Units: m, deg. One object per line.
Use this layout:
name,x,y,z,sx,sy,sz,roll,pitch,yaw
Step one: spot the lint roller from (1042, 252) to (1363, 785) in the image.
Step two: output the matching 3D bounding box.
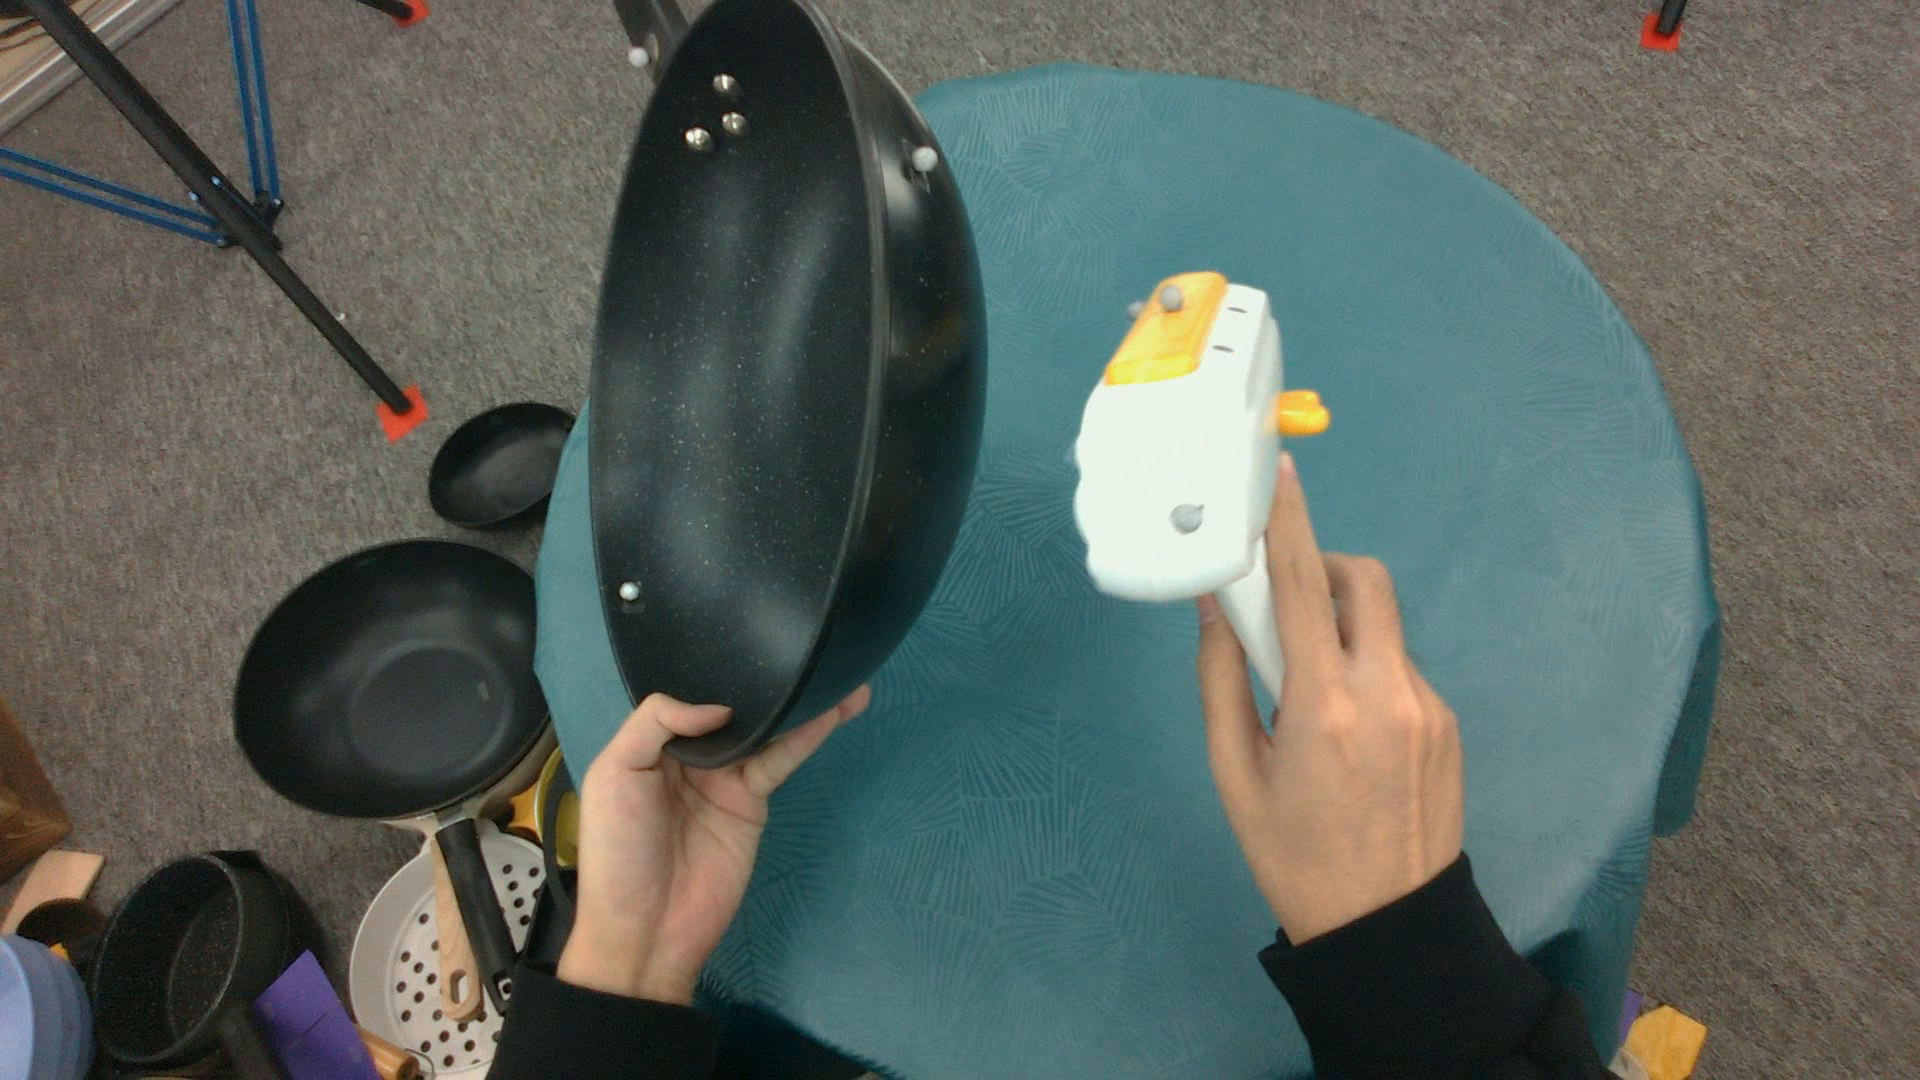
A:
lint roller,0.091,0.008,0.479,0.074,0.192,0.193,-14,23,15

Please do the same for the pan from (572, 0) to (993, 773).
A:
pan,-0.099,-0.137,0.603,0.112,0.308,0.478,4,63,-34
